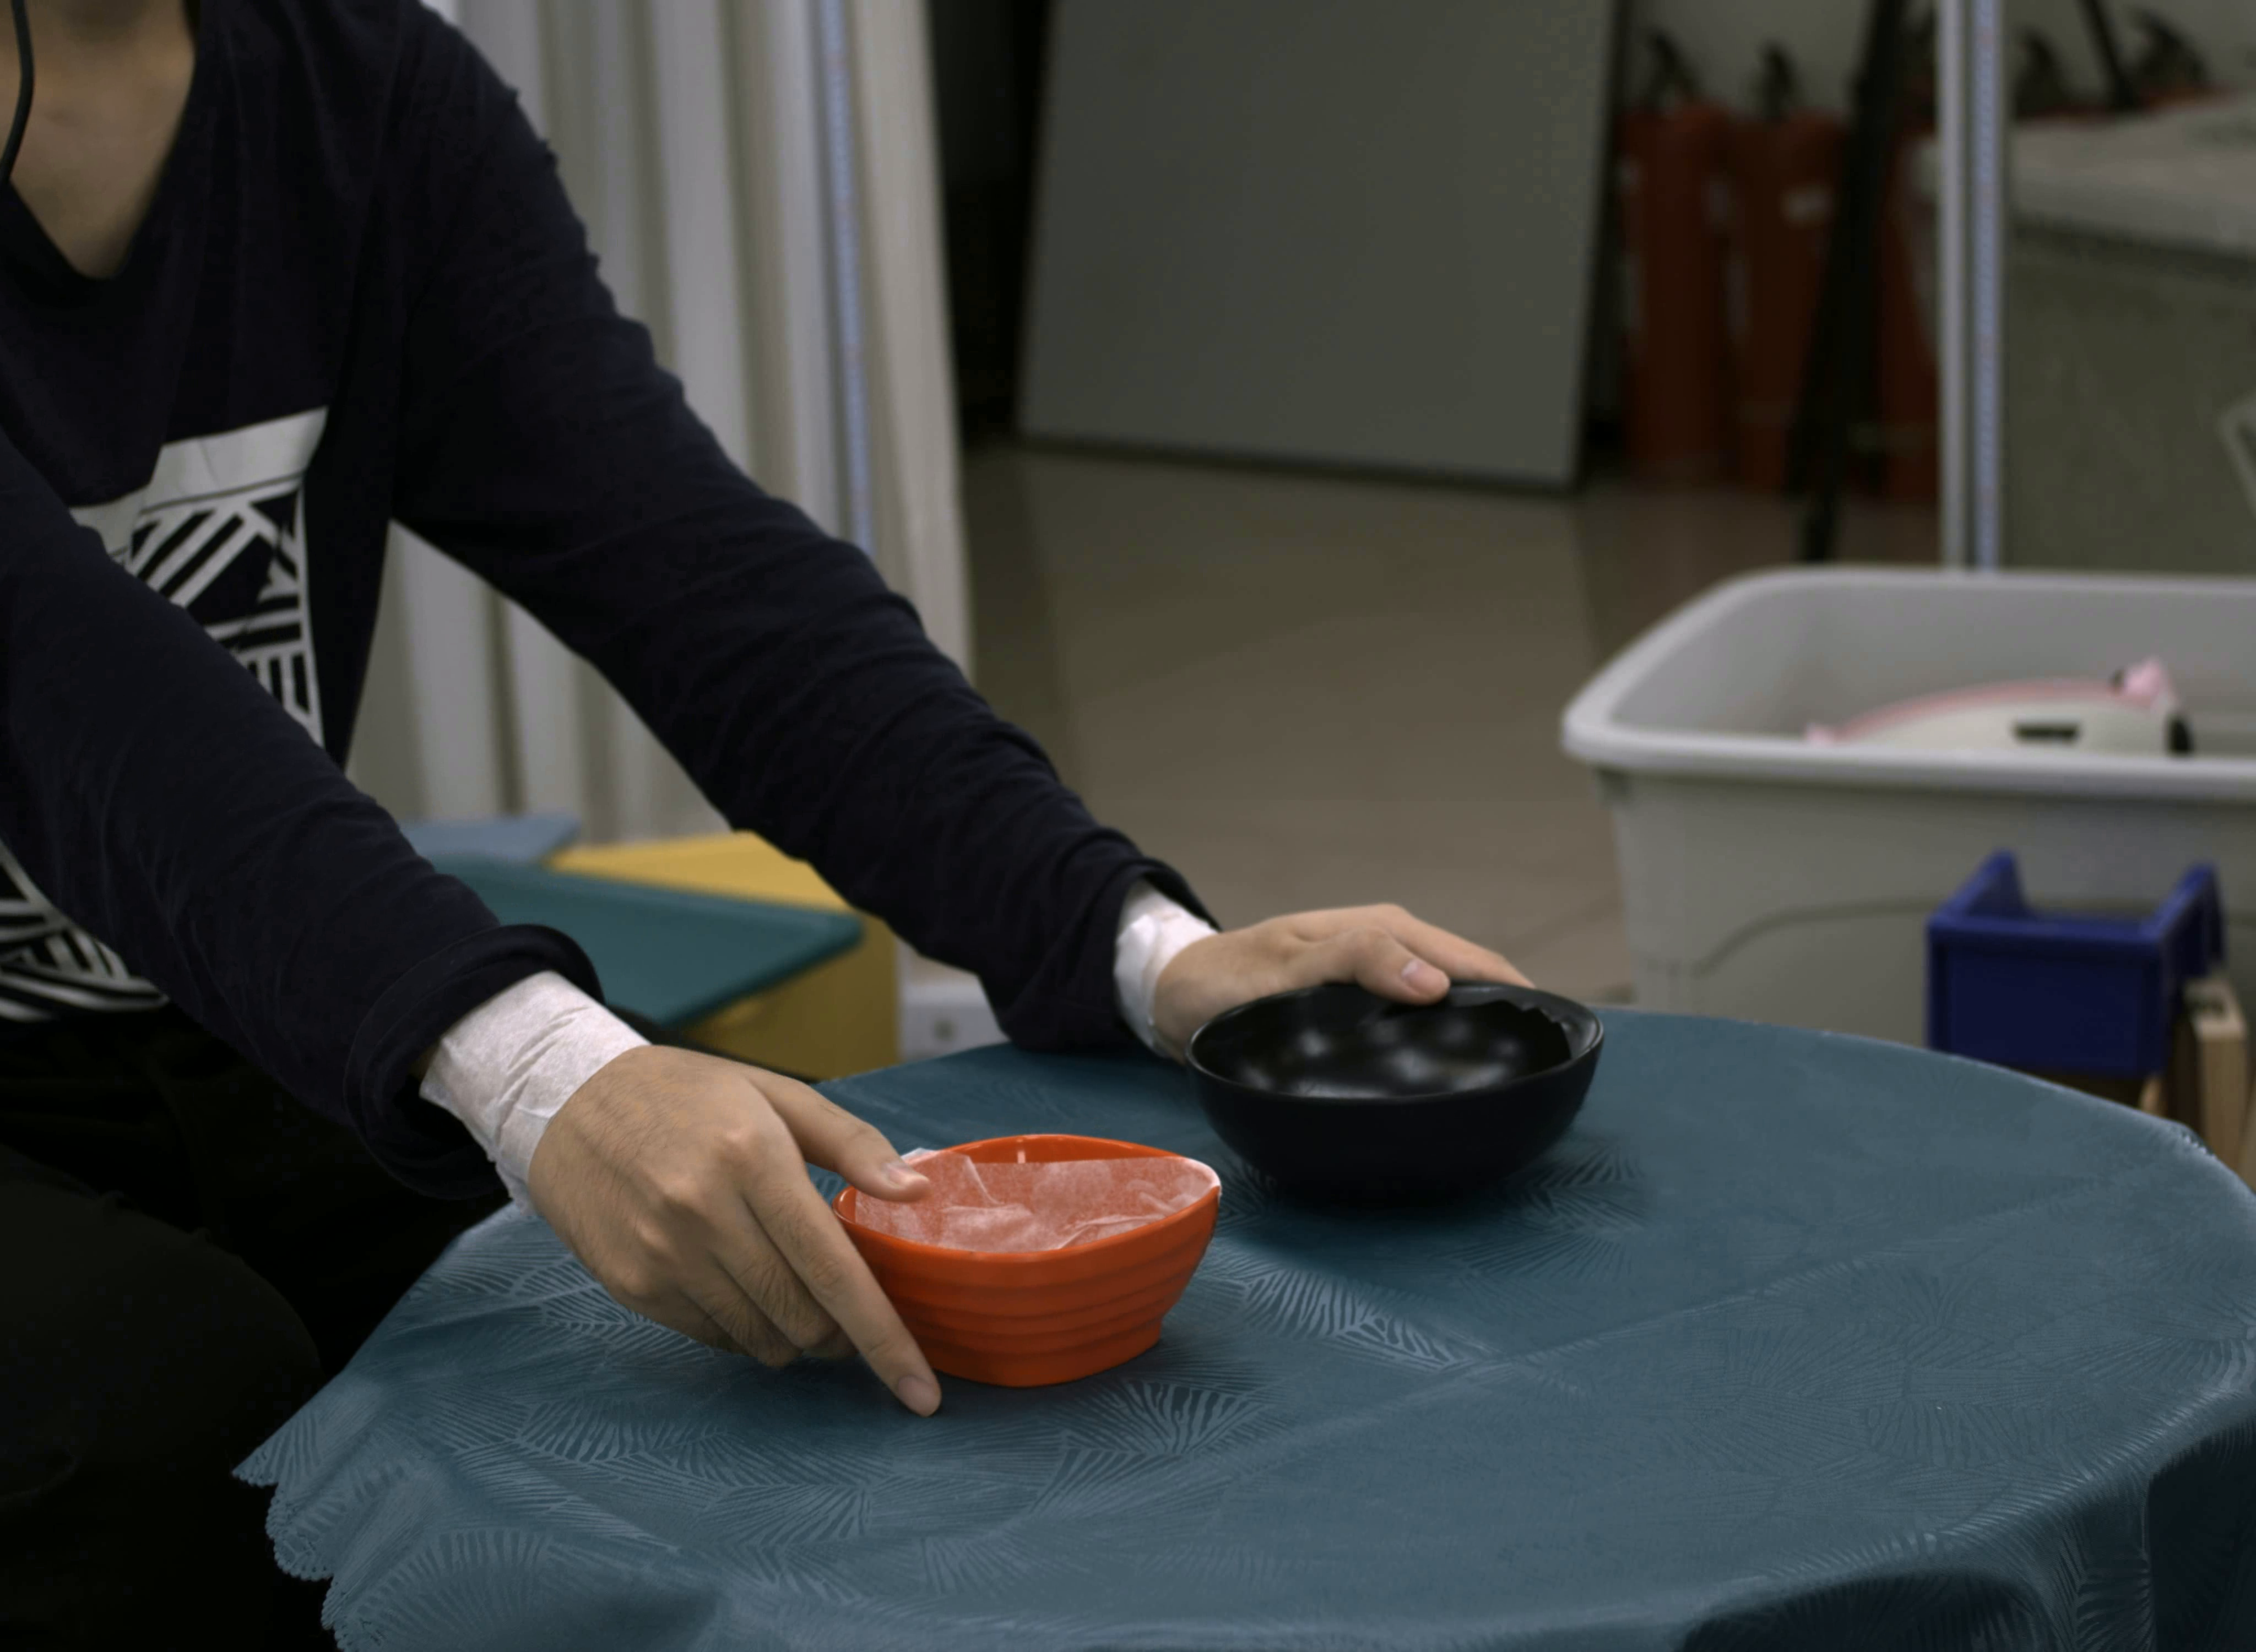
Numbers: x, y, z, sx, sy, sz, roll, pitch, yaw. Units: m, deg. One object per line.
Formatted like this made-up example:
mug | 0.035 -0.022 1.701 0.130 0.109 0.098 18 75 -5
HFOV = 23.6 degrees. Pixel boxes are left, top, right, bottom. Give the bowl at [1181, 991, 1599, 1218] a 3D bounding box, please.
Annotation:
bowl | 0.088 0.095 1.764 0.138 0.050 0.140 -7 11 0

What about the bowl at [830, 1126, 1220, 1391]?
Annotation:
bowl | -0.030 0.132 1.625 0.117 0.052 0.119 -4 15 0
